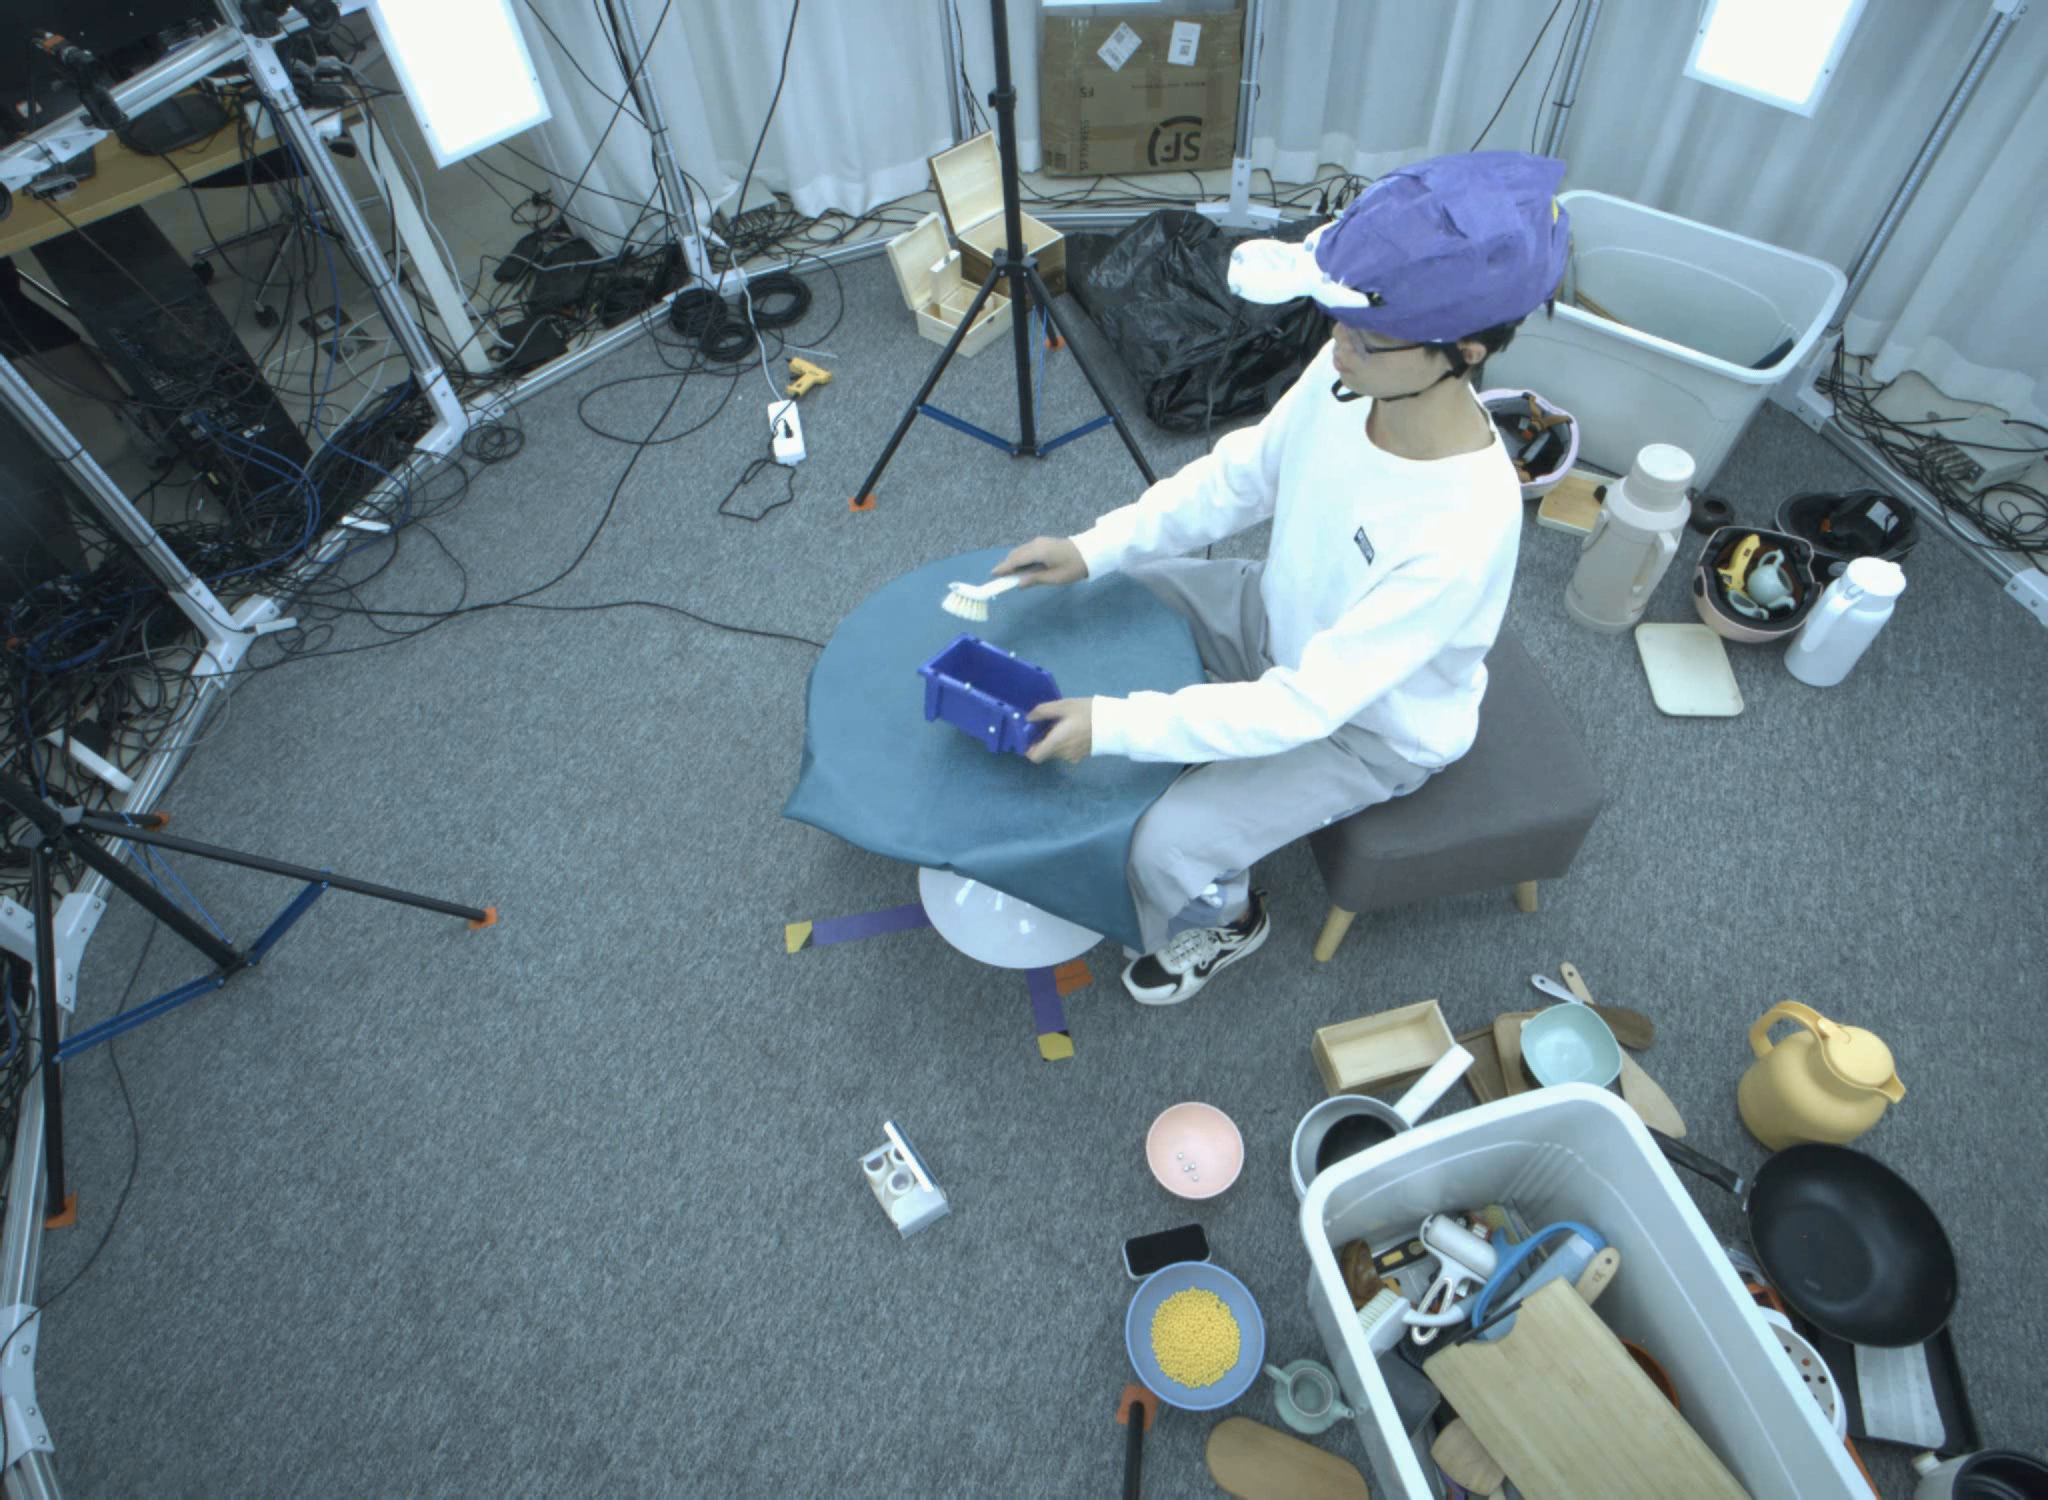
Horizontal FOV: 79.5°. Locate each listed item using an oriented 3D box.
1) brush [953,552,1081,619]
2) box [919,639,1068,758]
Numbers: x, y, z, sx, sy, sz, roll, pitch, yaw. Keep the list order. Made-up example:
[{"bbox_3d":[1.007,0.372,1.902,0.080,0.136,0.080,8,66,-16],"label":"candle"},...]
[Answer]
[{"bbox_3d":[-0.005,-0.253,1.862,0.067,0.056,0.270,40,37,22],"label":"brush"},{"bbox_3d":[-0.041,-0.070,1.733,0.177,0.082,0.125,24,40,19],"label":"box"}]
